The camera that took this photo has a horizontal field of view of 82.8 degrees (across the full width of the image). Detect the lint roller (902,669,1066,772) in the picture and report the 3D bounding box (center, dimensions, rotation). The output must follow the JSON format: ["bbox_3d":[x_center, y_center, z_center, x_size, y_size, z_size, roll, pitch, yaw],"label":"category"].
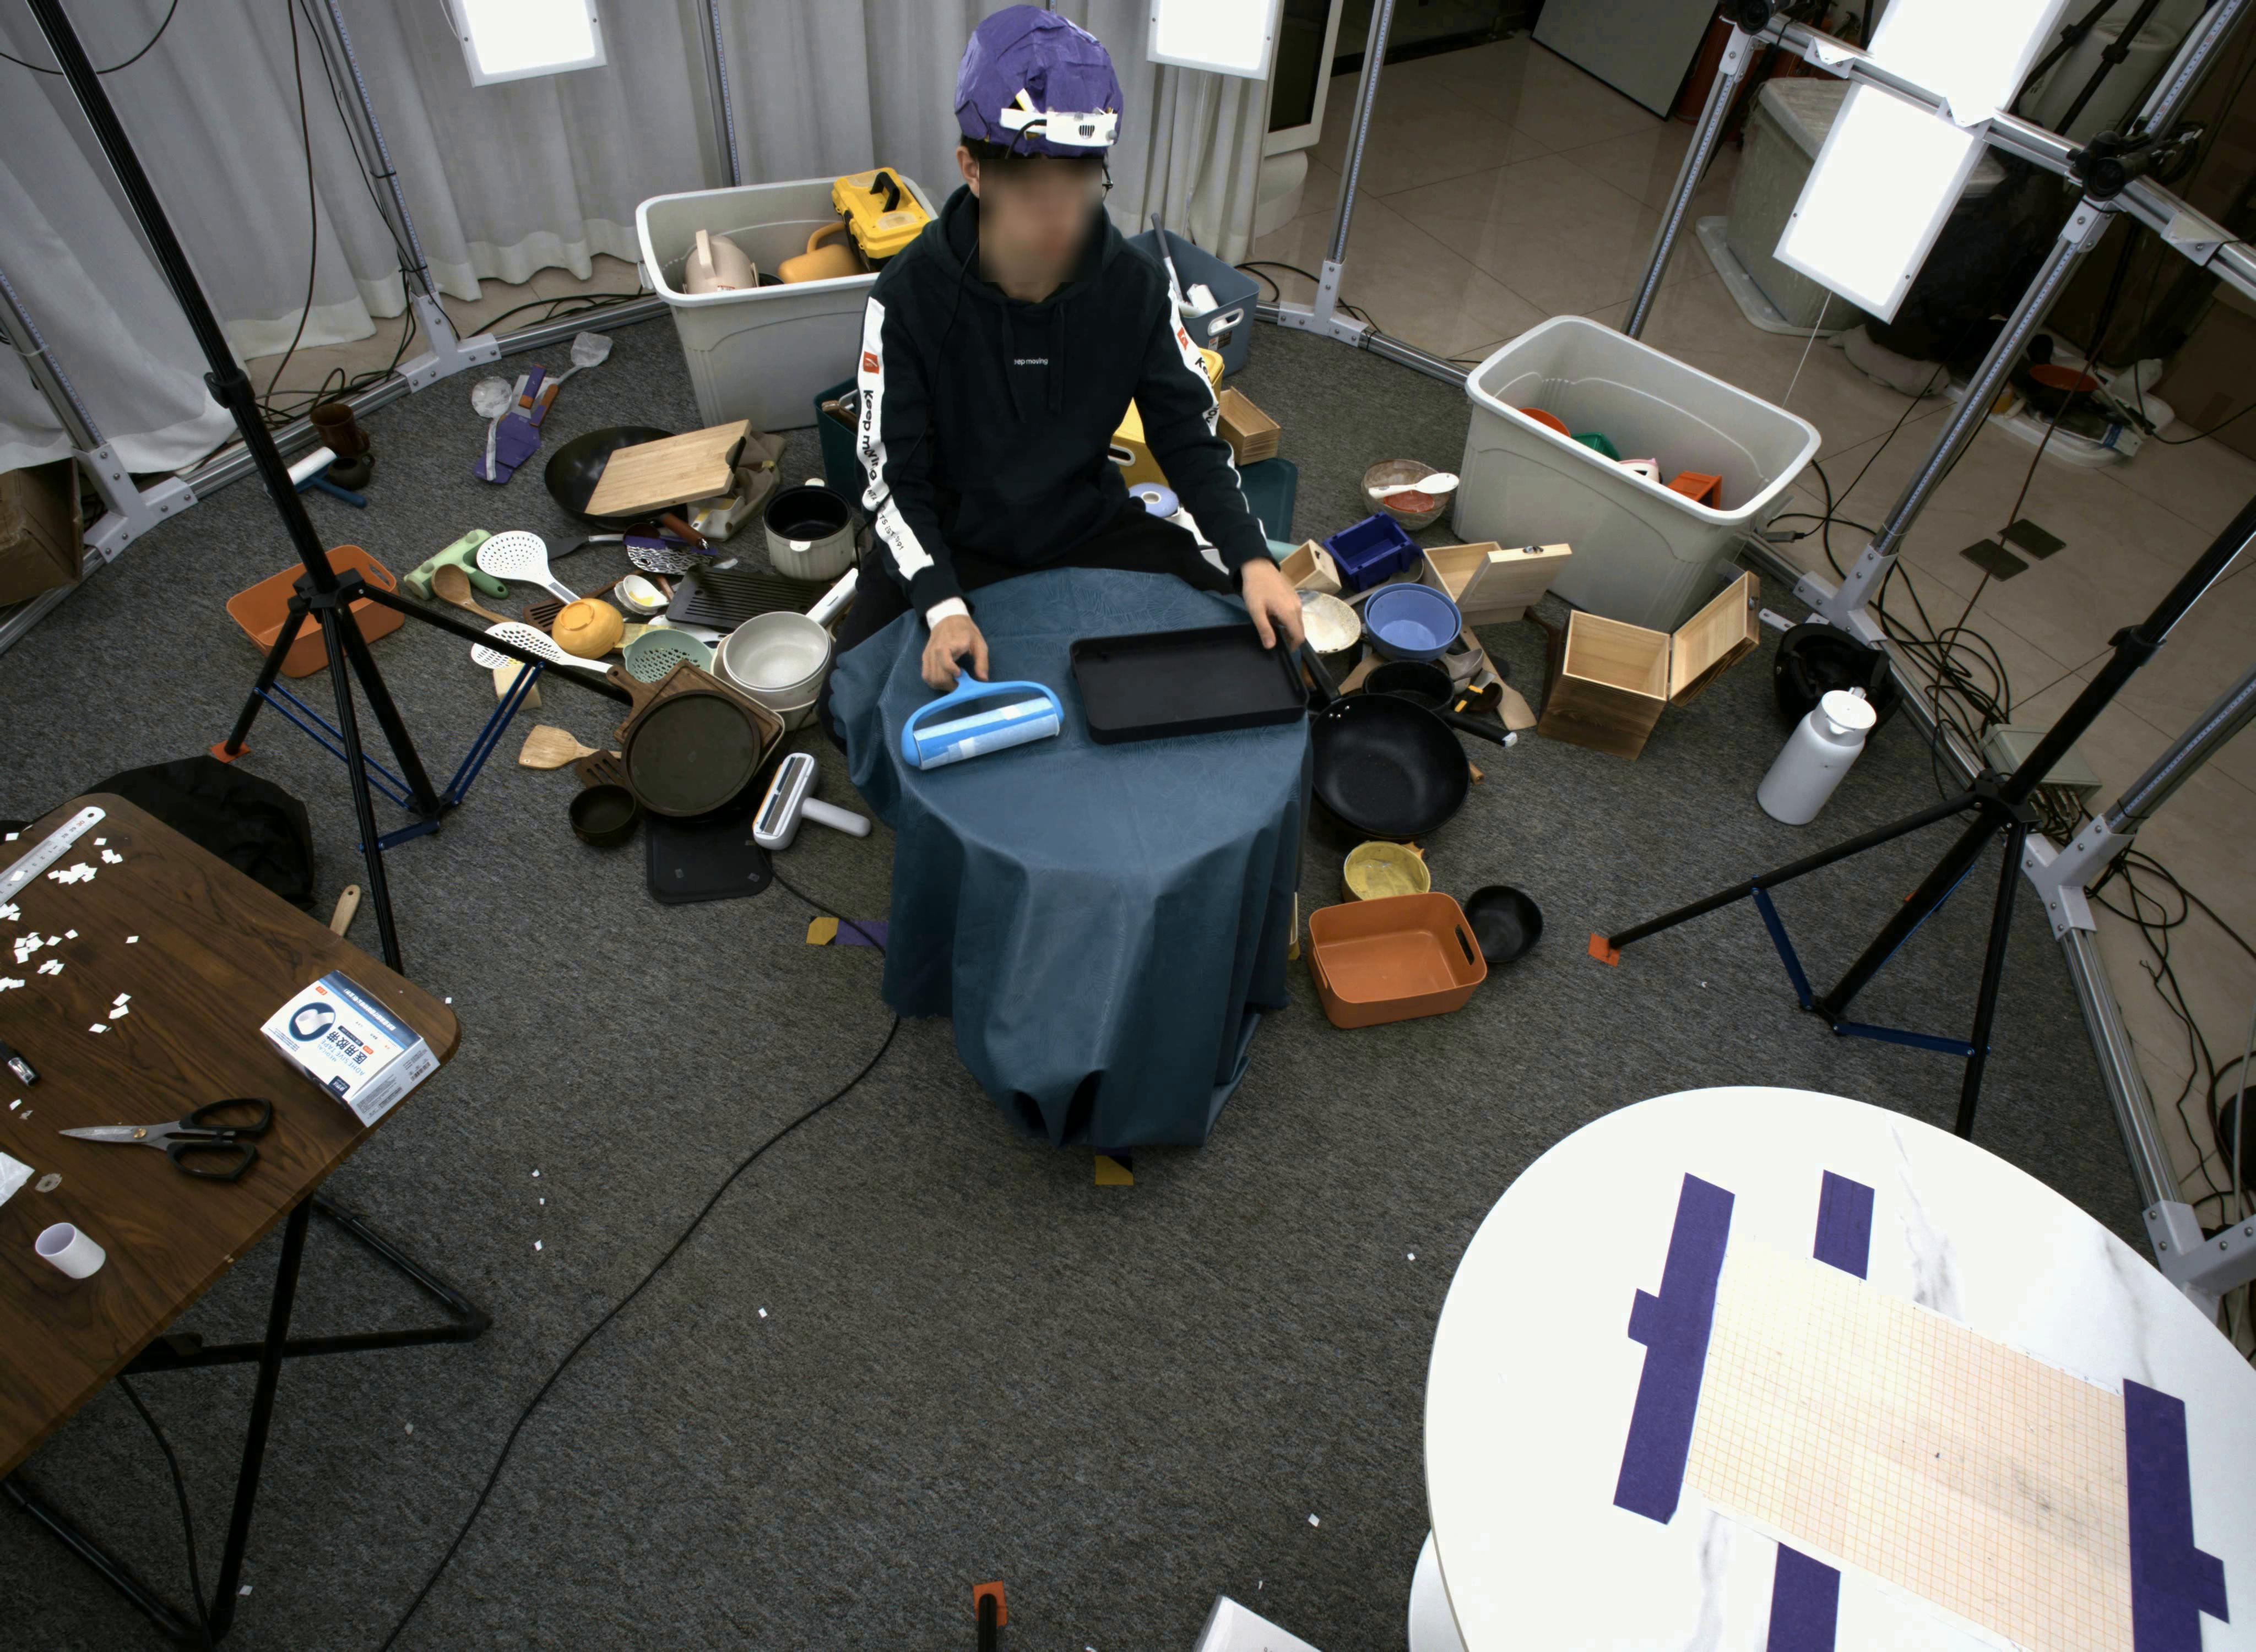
[{"bbox_3d":[-0.218,-0.169,1.763,0.229,0.066,0.184,-20,55,-17],"label":"lint roller"}]

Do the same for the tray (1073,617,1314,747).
[{"bbox_3d":[0.090,-0.208,1.832,0.318,0.036,0.189,-9,50,-10],"label":"tray"}]
